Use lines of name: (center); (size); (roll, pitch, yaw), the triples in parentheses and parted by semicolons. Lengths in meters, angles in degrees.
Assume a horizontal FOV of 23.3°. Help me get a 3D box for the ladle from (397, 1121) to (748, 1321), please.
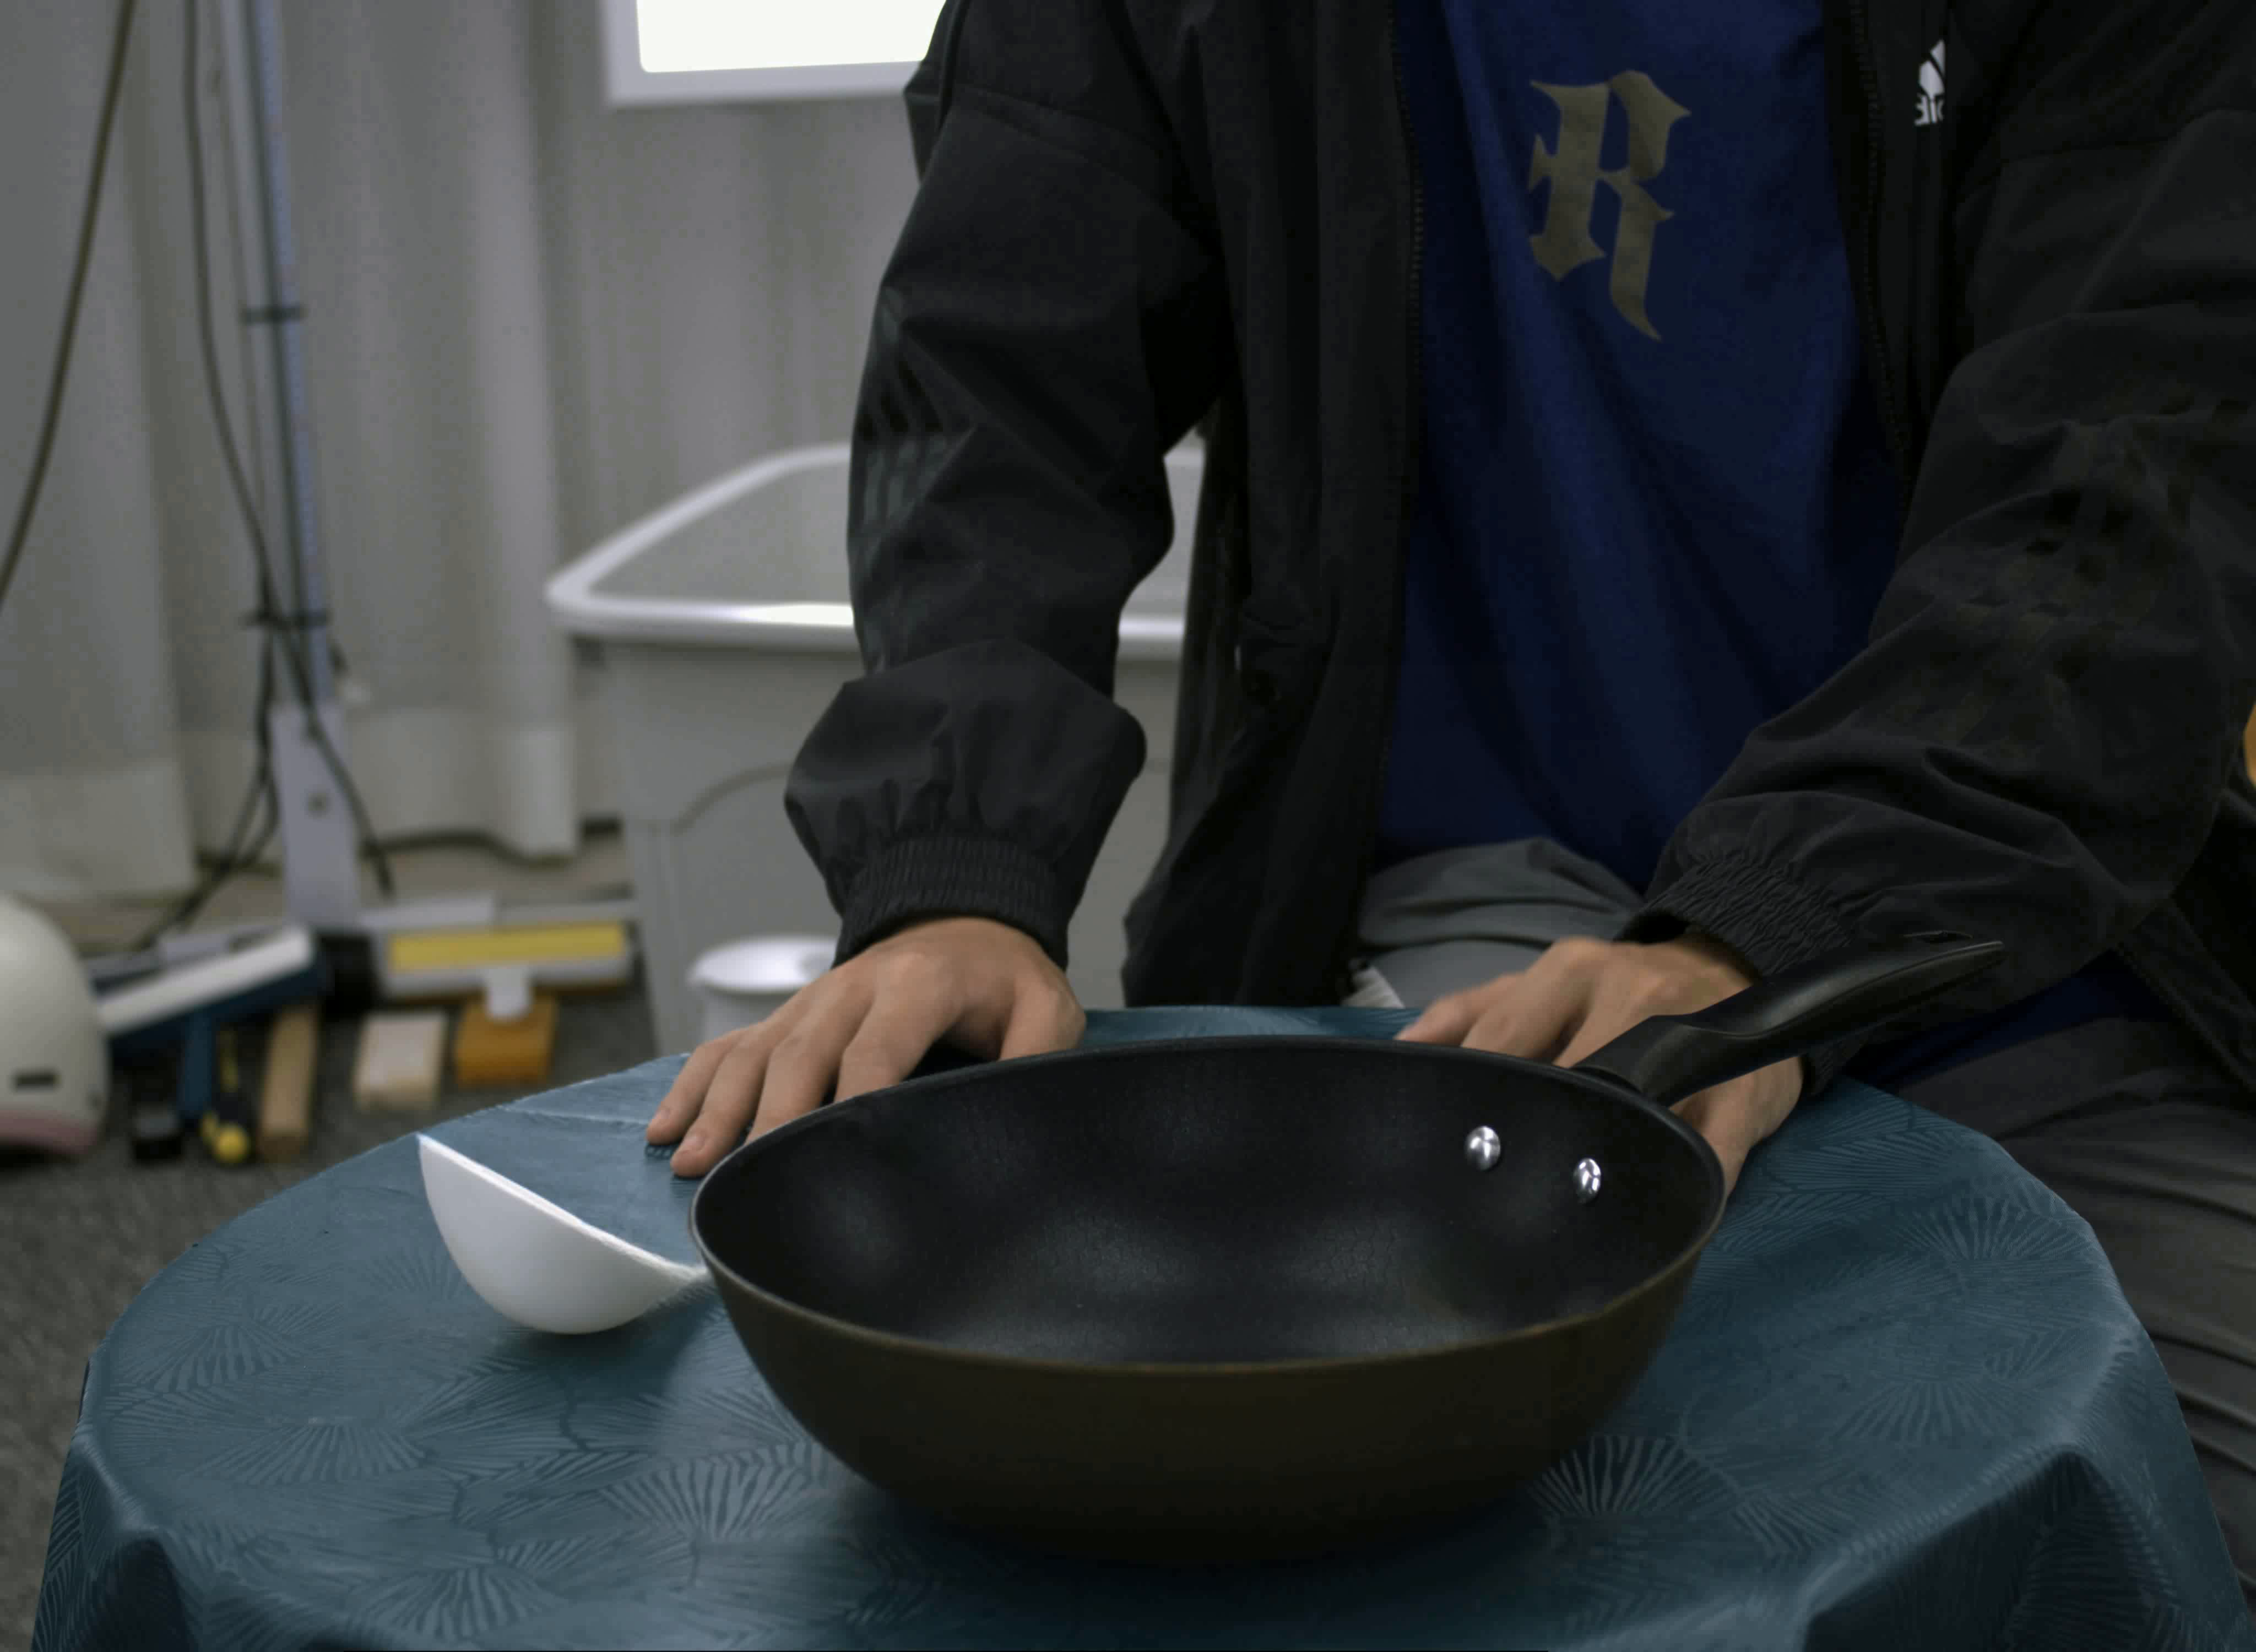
ladle: (-0.085, 0.097, 1.670); (0.292, 0.070, 0.090); (-11, 14, -34)

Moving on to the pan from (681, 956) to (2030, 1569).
pan: (0.089, 0.116, 1.531); (0.462, 0.086, 0.290); (-14, 19, -40)
